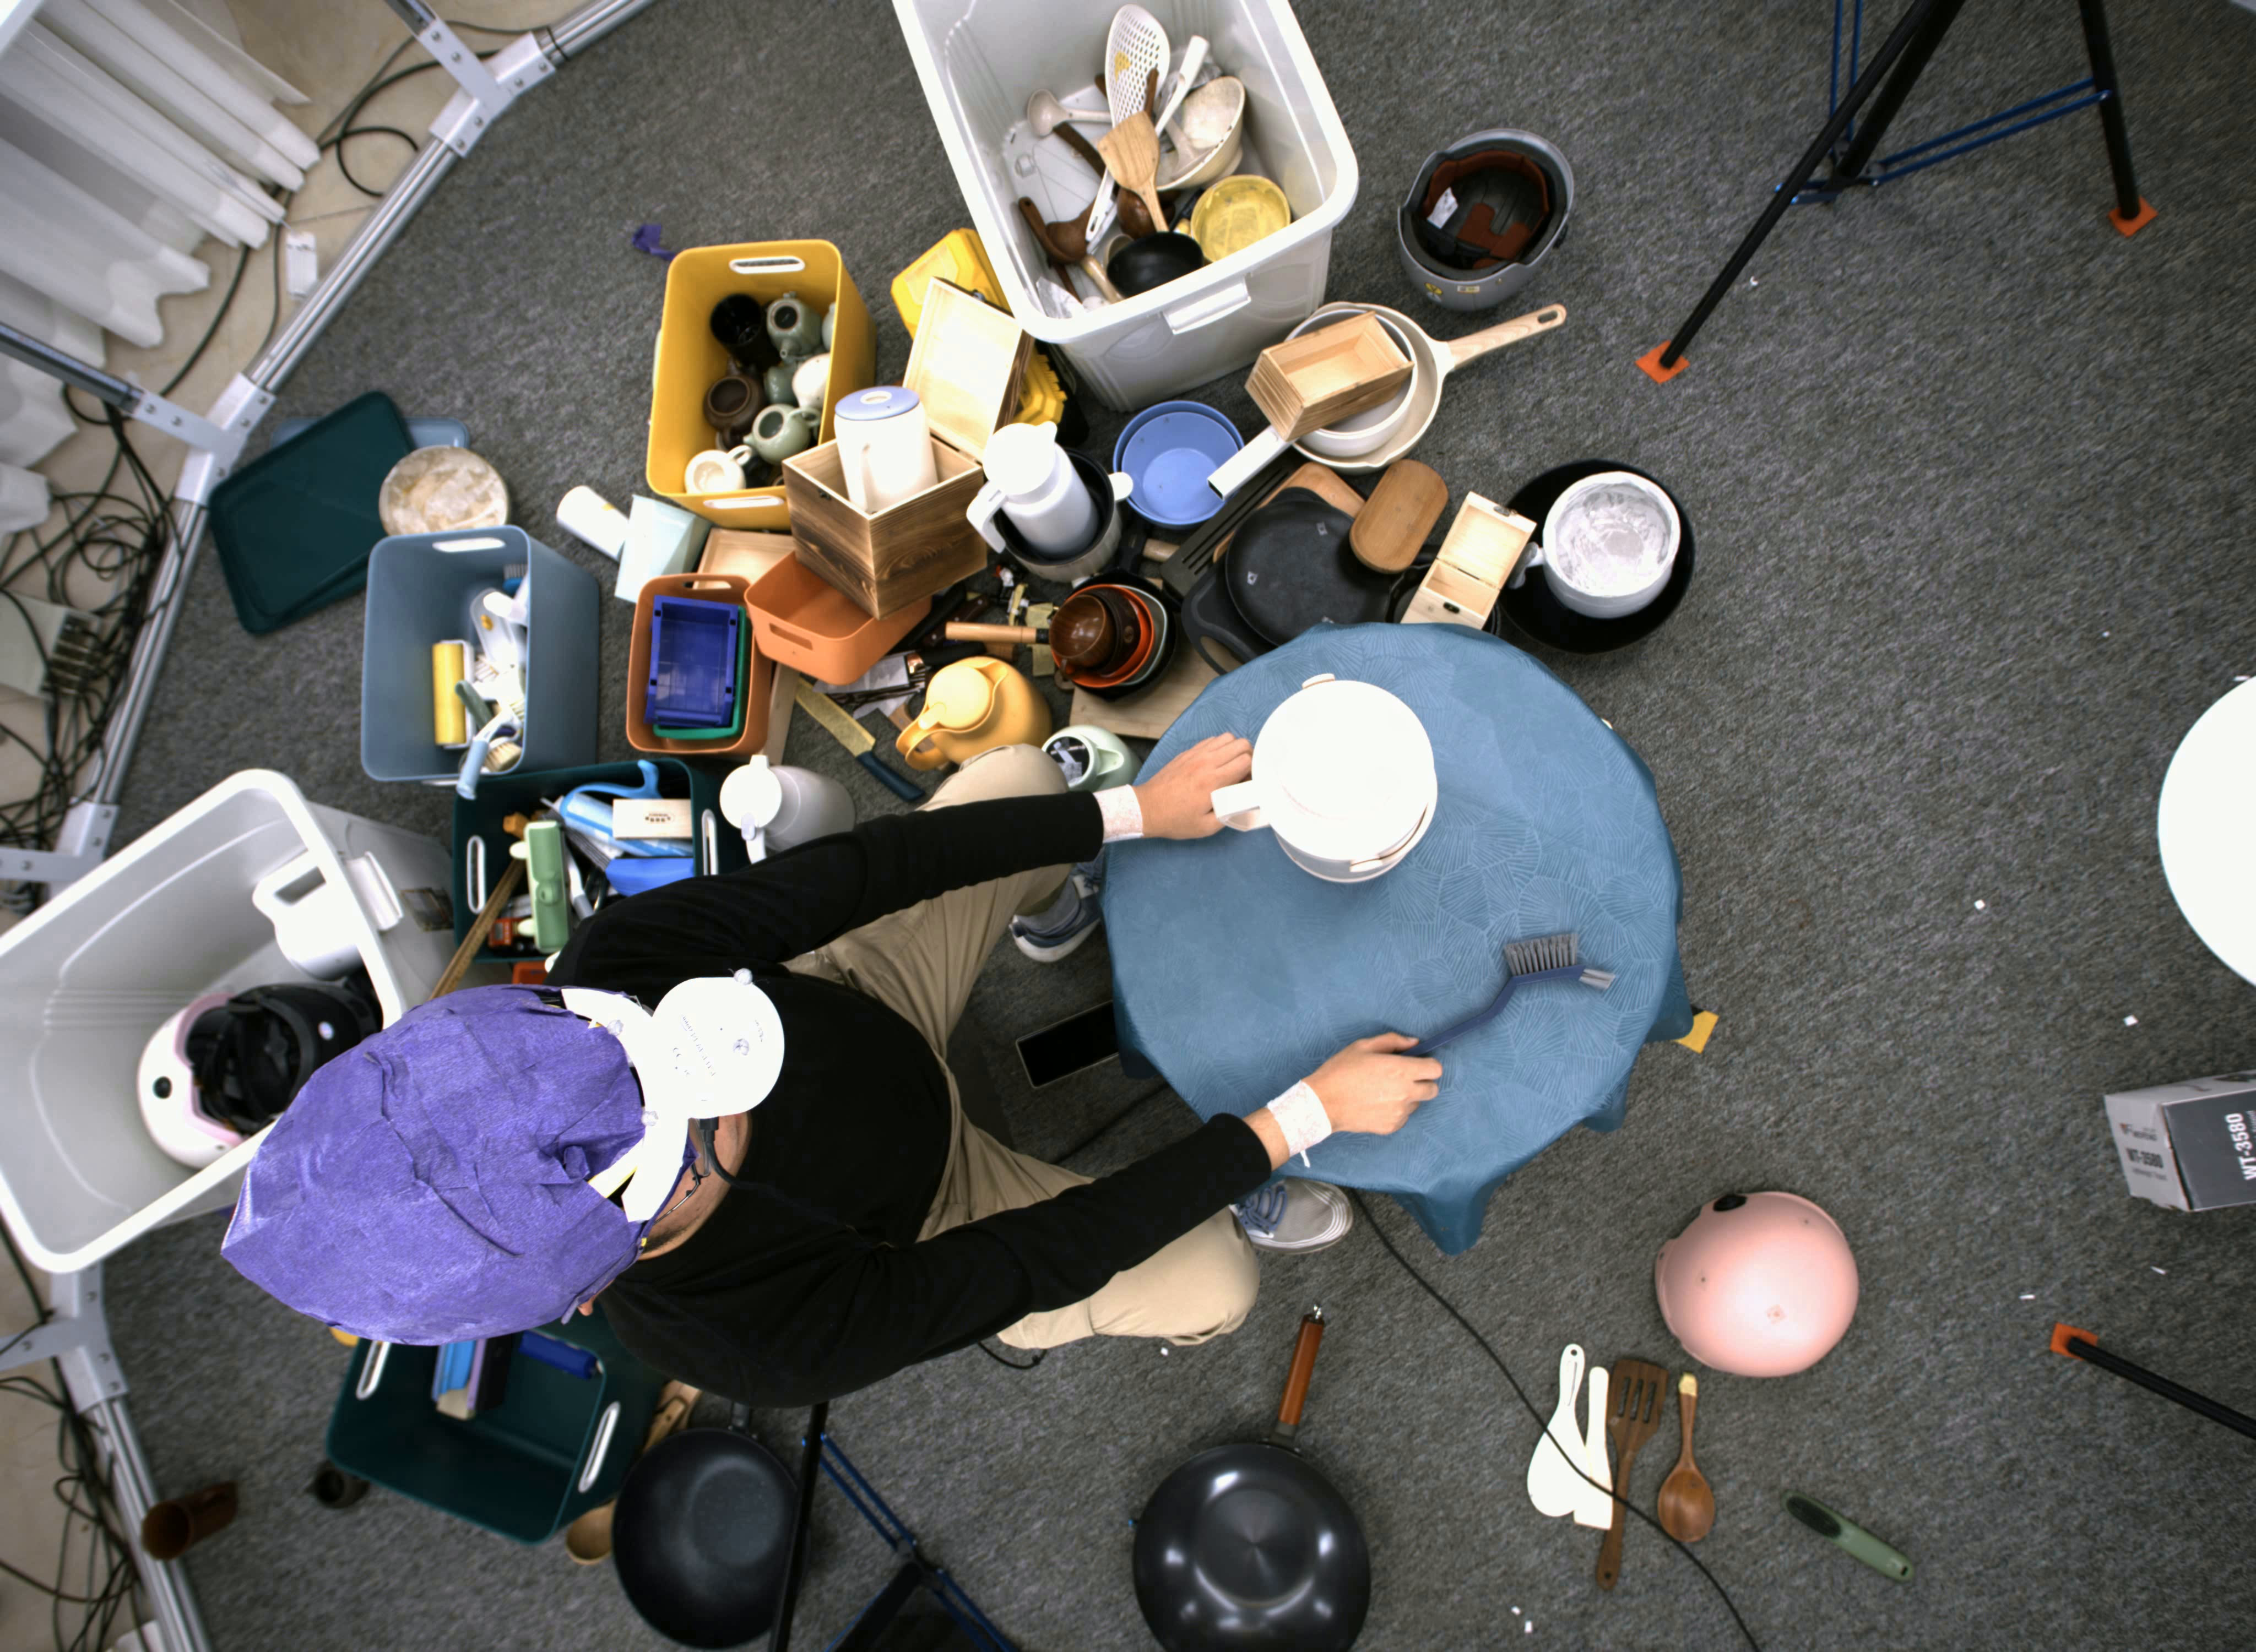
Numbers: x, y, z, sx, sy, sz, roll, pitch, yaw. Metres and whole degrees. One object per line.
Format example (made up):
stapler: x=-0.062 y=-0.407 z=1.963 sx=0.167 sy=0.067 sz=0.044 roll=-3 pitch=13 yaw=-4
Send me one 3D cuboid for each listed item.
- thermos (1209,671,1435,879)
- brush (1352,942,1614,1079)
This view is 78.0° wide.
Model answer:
thermos: x=0.184 y=-0.040 z=1.281 sx=0.208 sy=0.406 sz=0.174 roll=-15 pitch=84 yaw=8
brush: x=0.360 y=0.205 z=1.419 sx=0.274 sy=0.033 sz=0.095 roll=-35 pitch=80 yaw=5
